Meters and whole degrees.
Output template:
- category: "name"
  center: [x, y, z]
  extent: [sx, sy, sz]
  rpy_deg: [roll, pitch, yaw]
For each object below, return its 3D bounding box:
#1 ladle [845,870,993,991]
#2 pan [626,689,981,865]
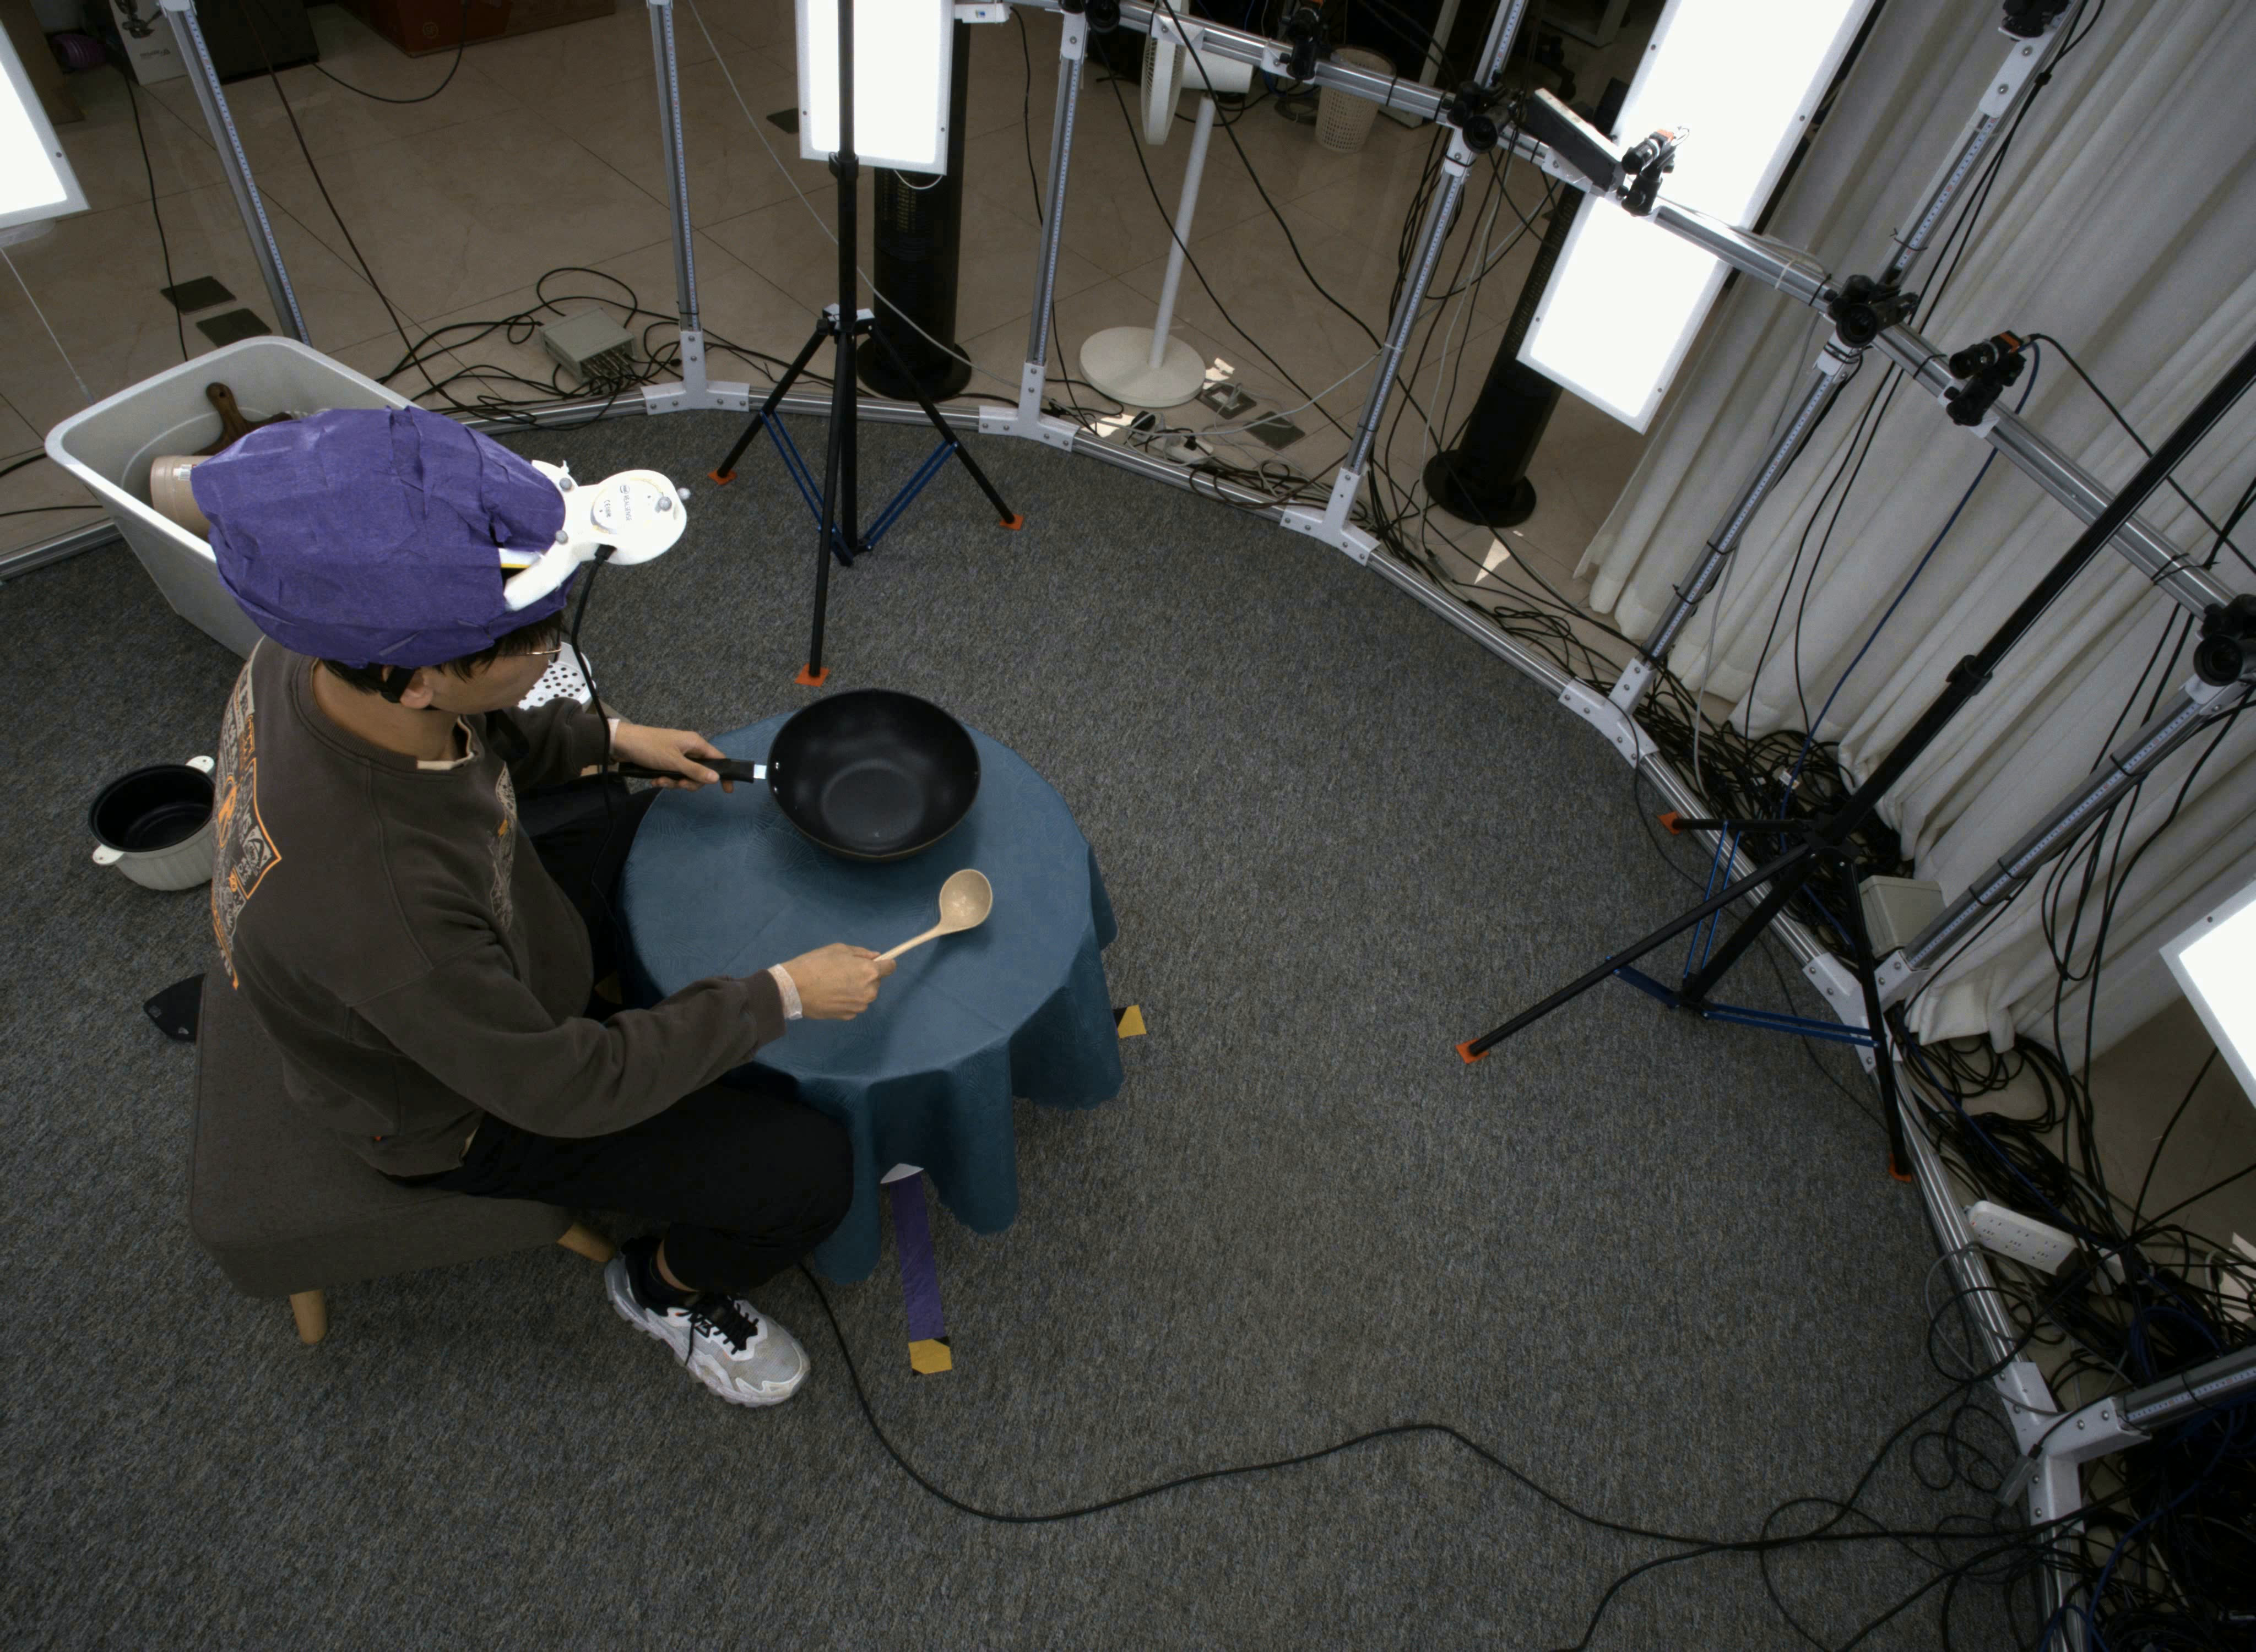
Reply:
- category: "ladle"
  center: [-0.253, 0.121, 1.583]
  extent: [0.070, 0.074, 0.255]
  rpy_deg: [32, 29, 15]
- category: "pan"
  center: [-0.427, -0.052, 1.723]
  extent: [0.463, 0.089, 0.282]
  rpy_deg: [-1, 55, -13]
